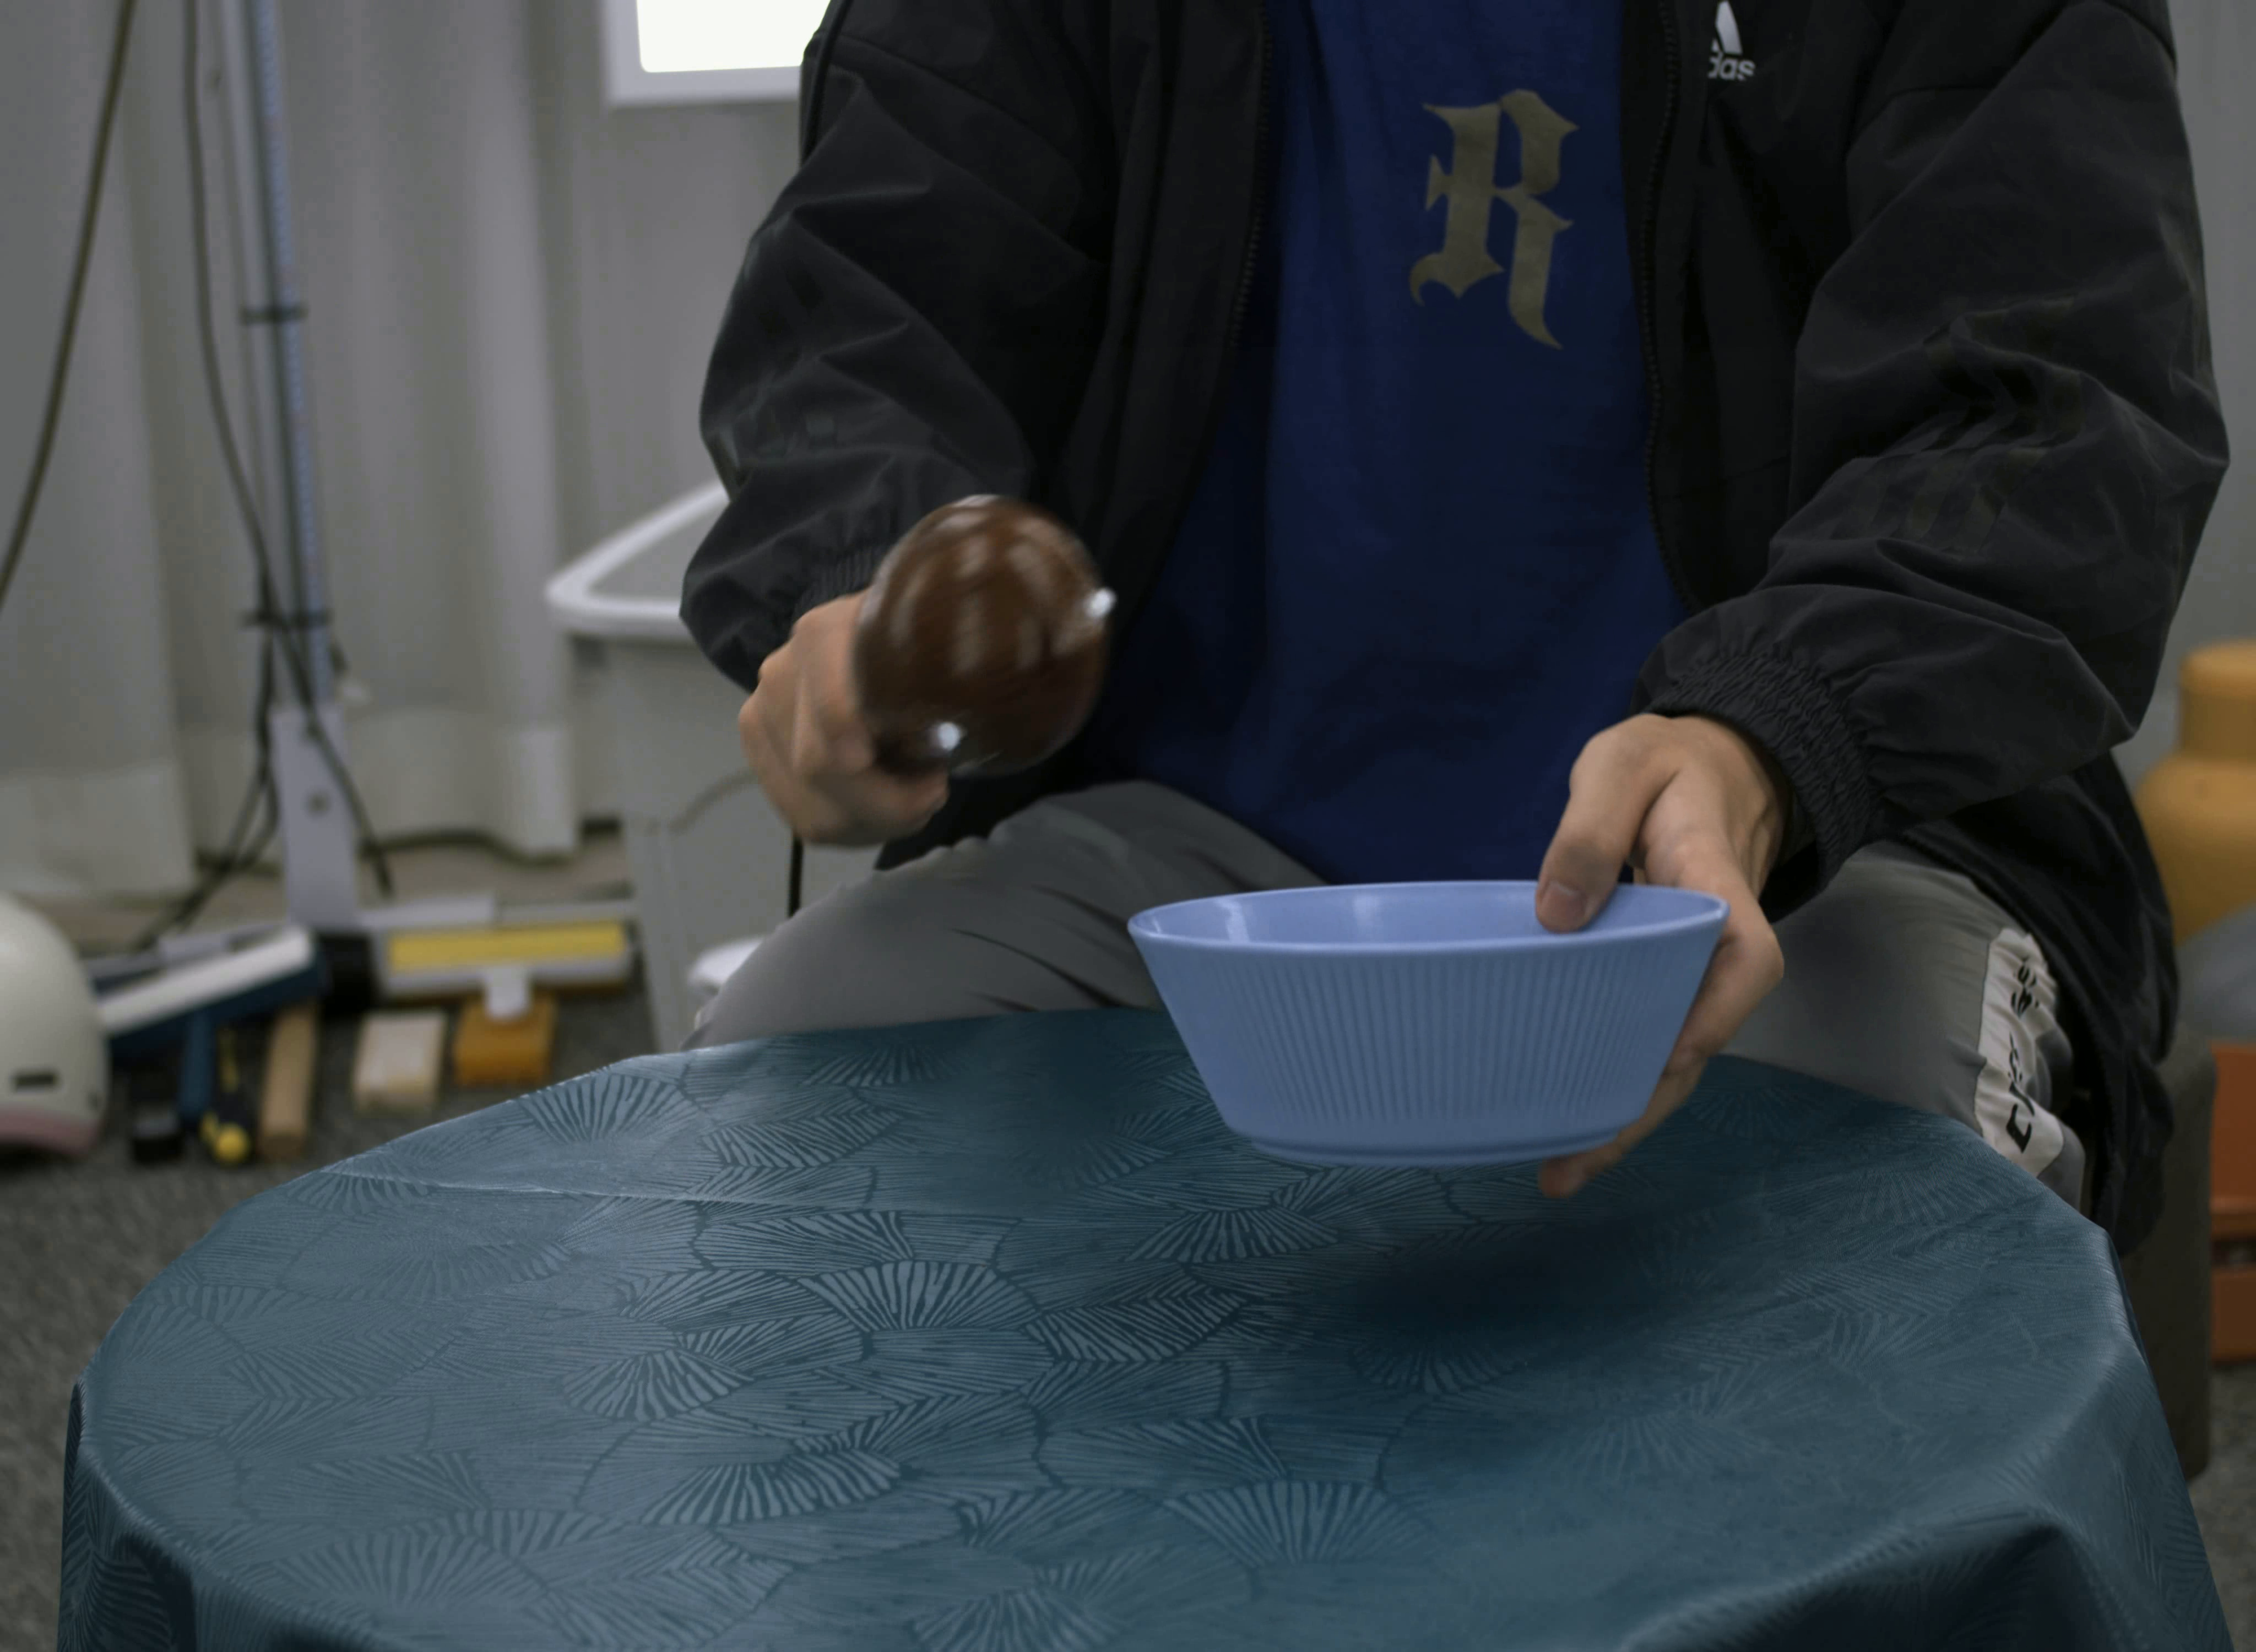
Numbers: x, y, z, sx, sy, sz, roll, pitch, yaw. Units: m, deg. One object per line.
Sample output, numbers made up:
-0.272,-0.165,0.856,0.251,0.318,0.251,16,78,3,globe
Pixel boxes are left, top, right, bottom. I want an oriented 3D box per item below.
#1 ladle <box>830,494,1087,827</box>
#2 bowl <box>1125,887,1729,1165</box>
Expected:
-0.051,-0.039,1.676,0.076,0.082,0.273,-4,-9,-1,ladle
0.087,0.058,1.591,0.175,0.070,0.176,-1,4,0,bowl
